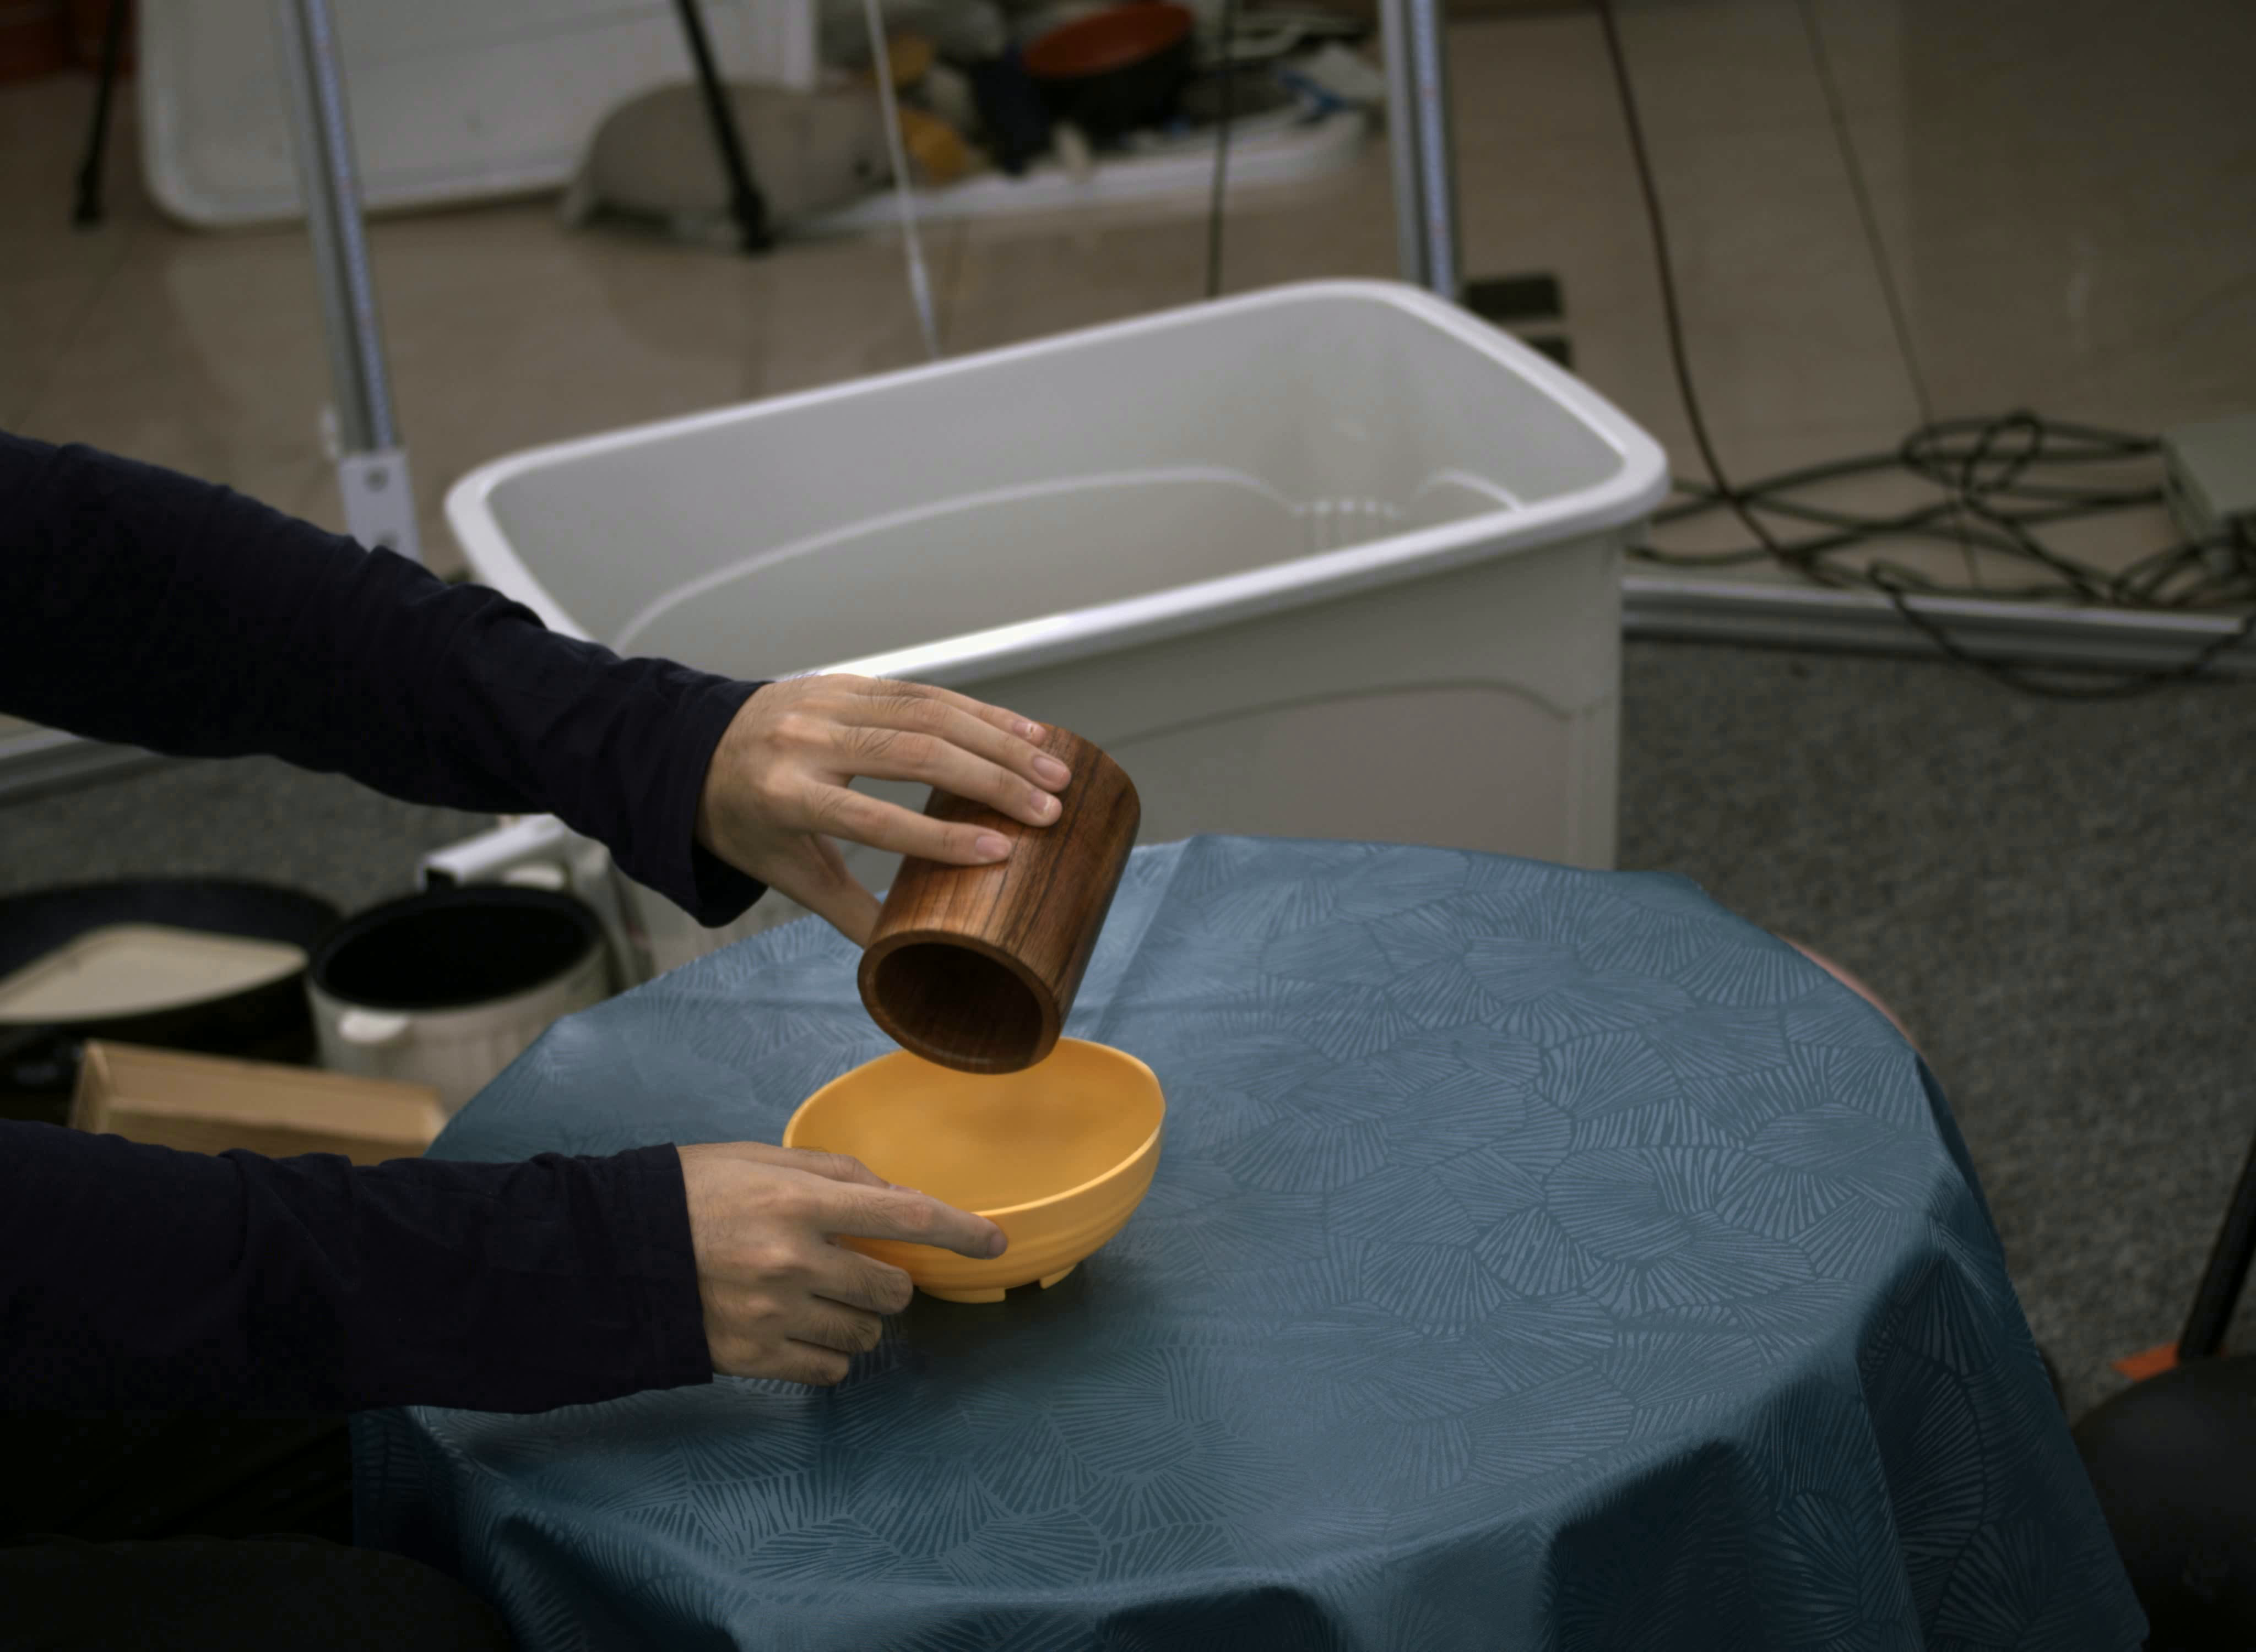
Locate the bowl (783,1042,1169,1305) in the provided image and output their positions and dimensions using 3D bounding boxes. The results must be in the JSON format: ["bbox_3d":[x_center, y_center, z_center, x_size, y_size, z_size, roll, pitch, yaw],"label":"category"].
[{"bbox_3d":[-0.053,0.136,2.098,0.145,0.061,0.143,-6,24,3],"label":"bowl"}]

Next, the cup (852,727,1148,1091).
[{"bbox_3d":[-0.047,0.031,2.118,0.087,0.089,0.116,4,43,21],"label":"cup"}]
